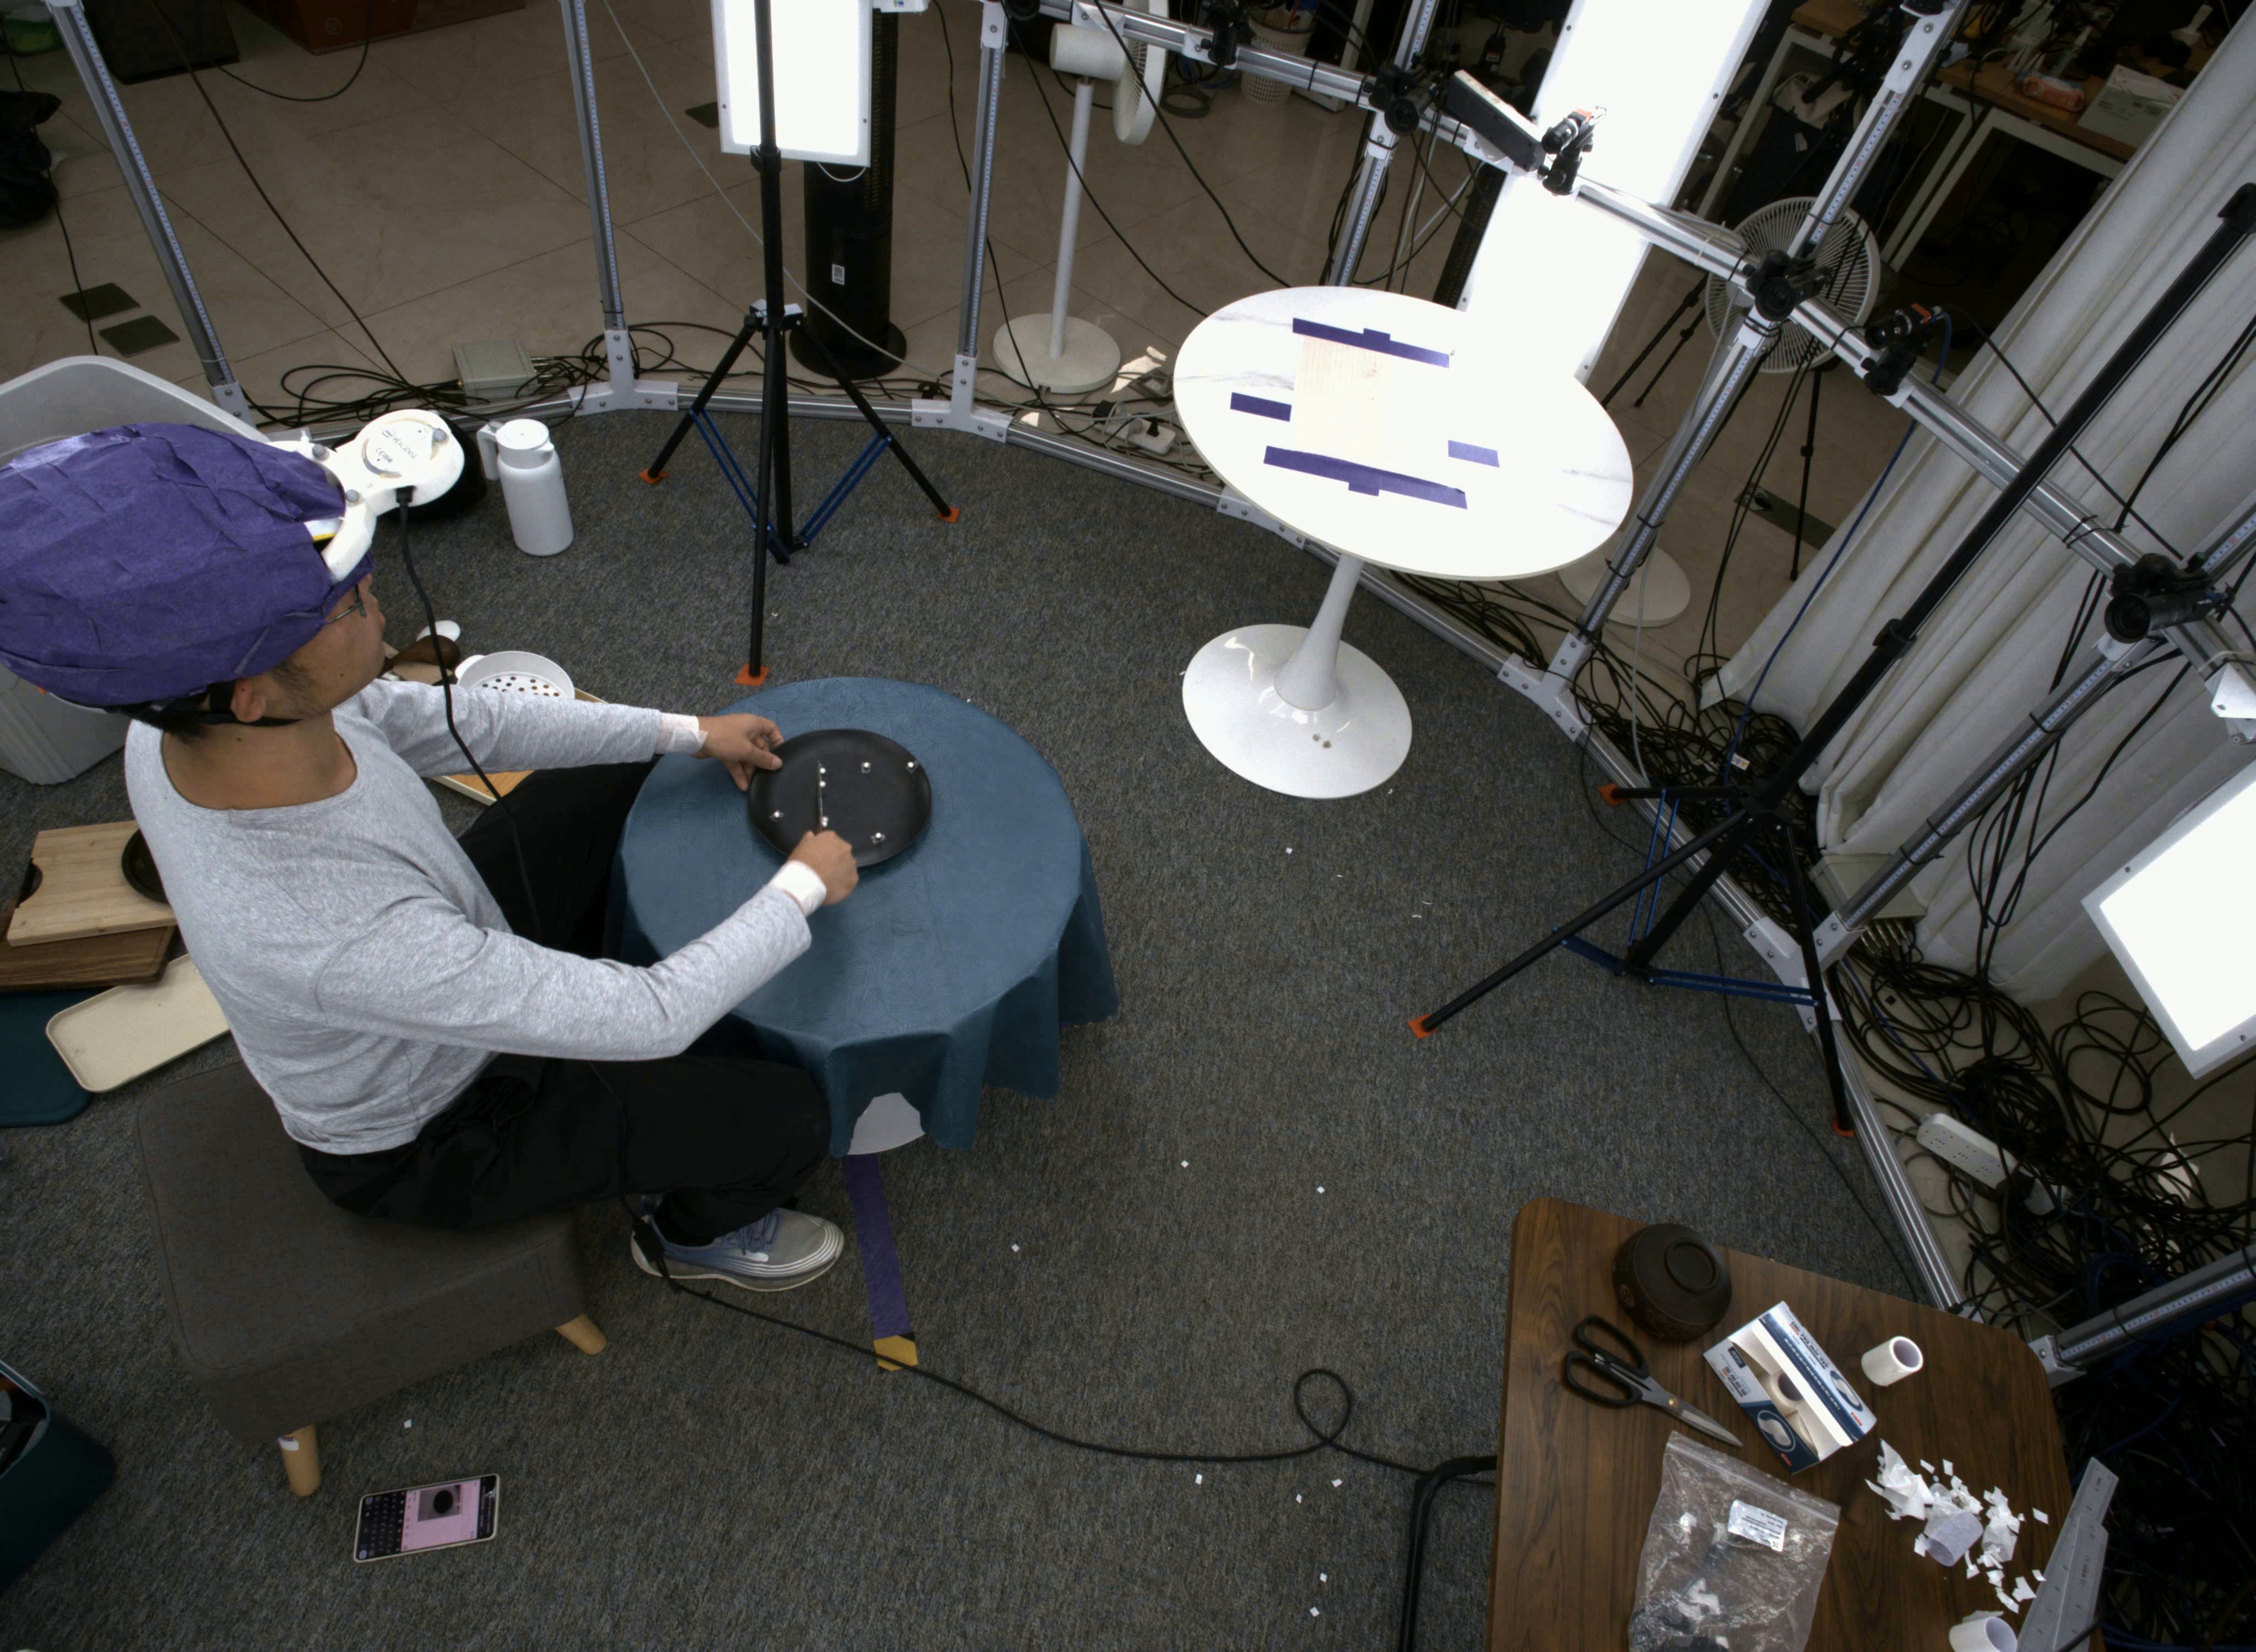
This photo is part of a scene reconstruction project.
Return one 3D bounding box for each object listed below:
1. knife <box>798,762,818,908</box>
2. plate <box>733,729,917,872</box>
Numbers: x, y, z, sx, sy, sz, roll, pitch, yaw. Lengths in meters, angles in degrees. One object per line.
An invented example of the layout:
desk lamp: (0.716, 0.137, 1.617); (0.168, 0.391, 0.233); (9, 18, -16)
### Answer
knife: (-0.413, 0.004, 1.663); (0.020, 0.052, 0.280); (-5, 40, -12)
plate: (-0.407, -0.033, 1.749); (0.244, 0.024, 0.240); (8, 53, -9)
